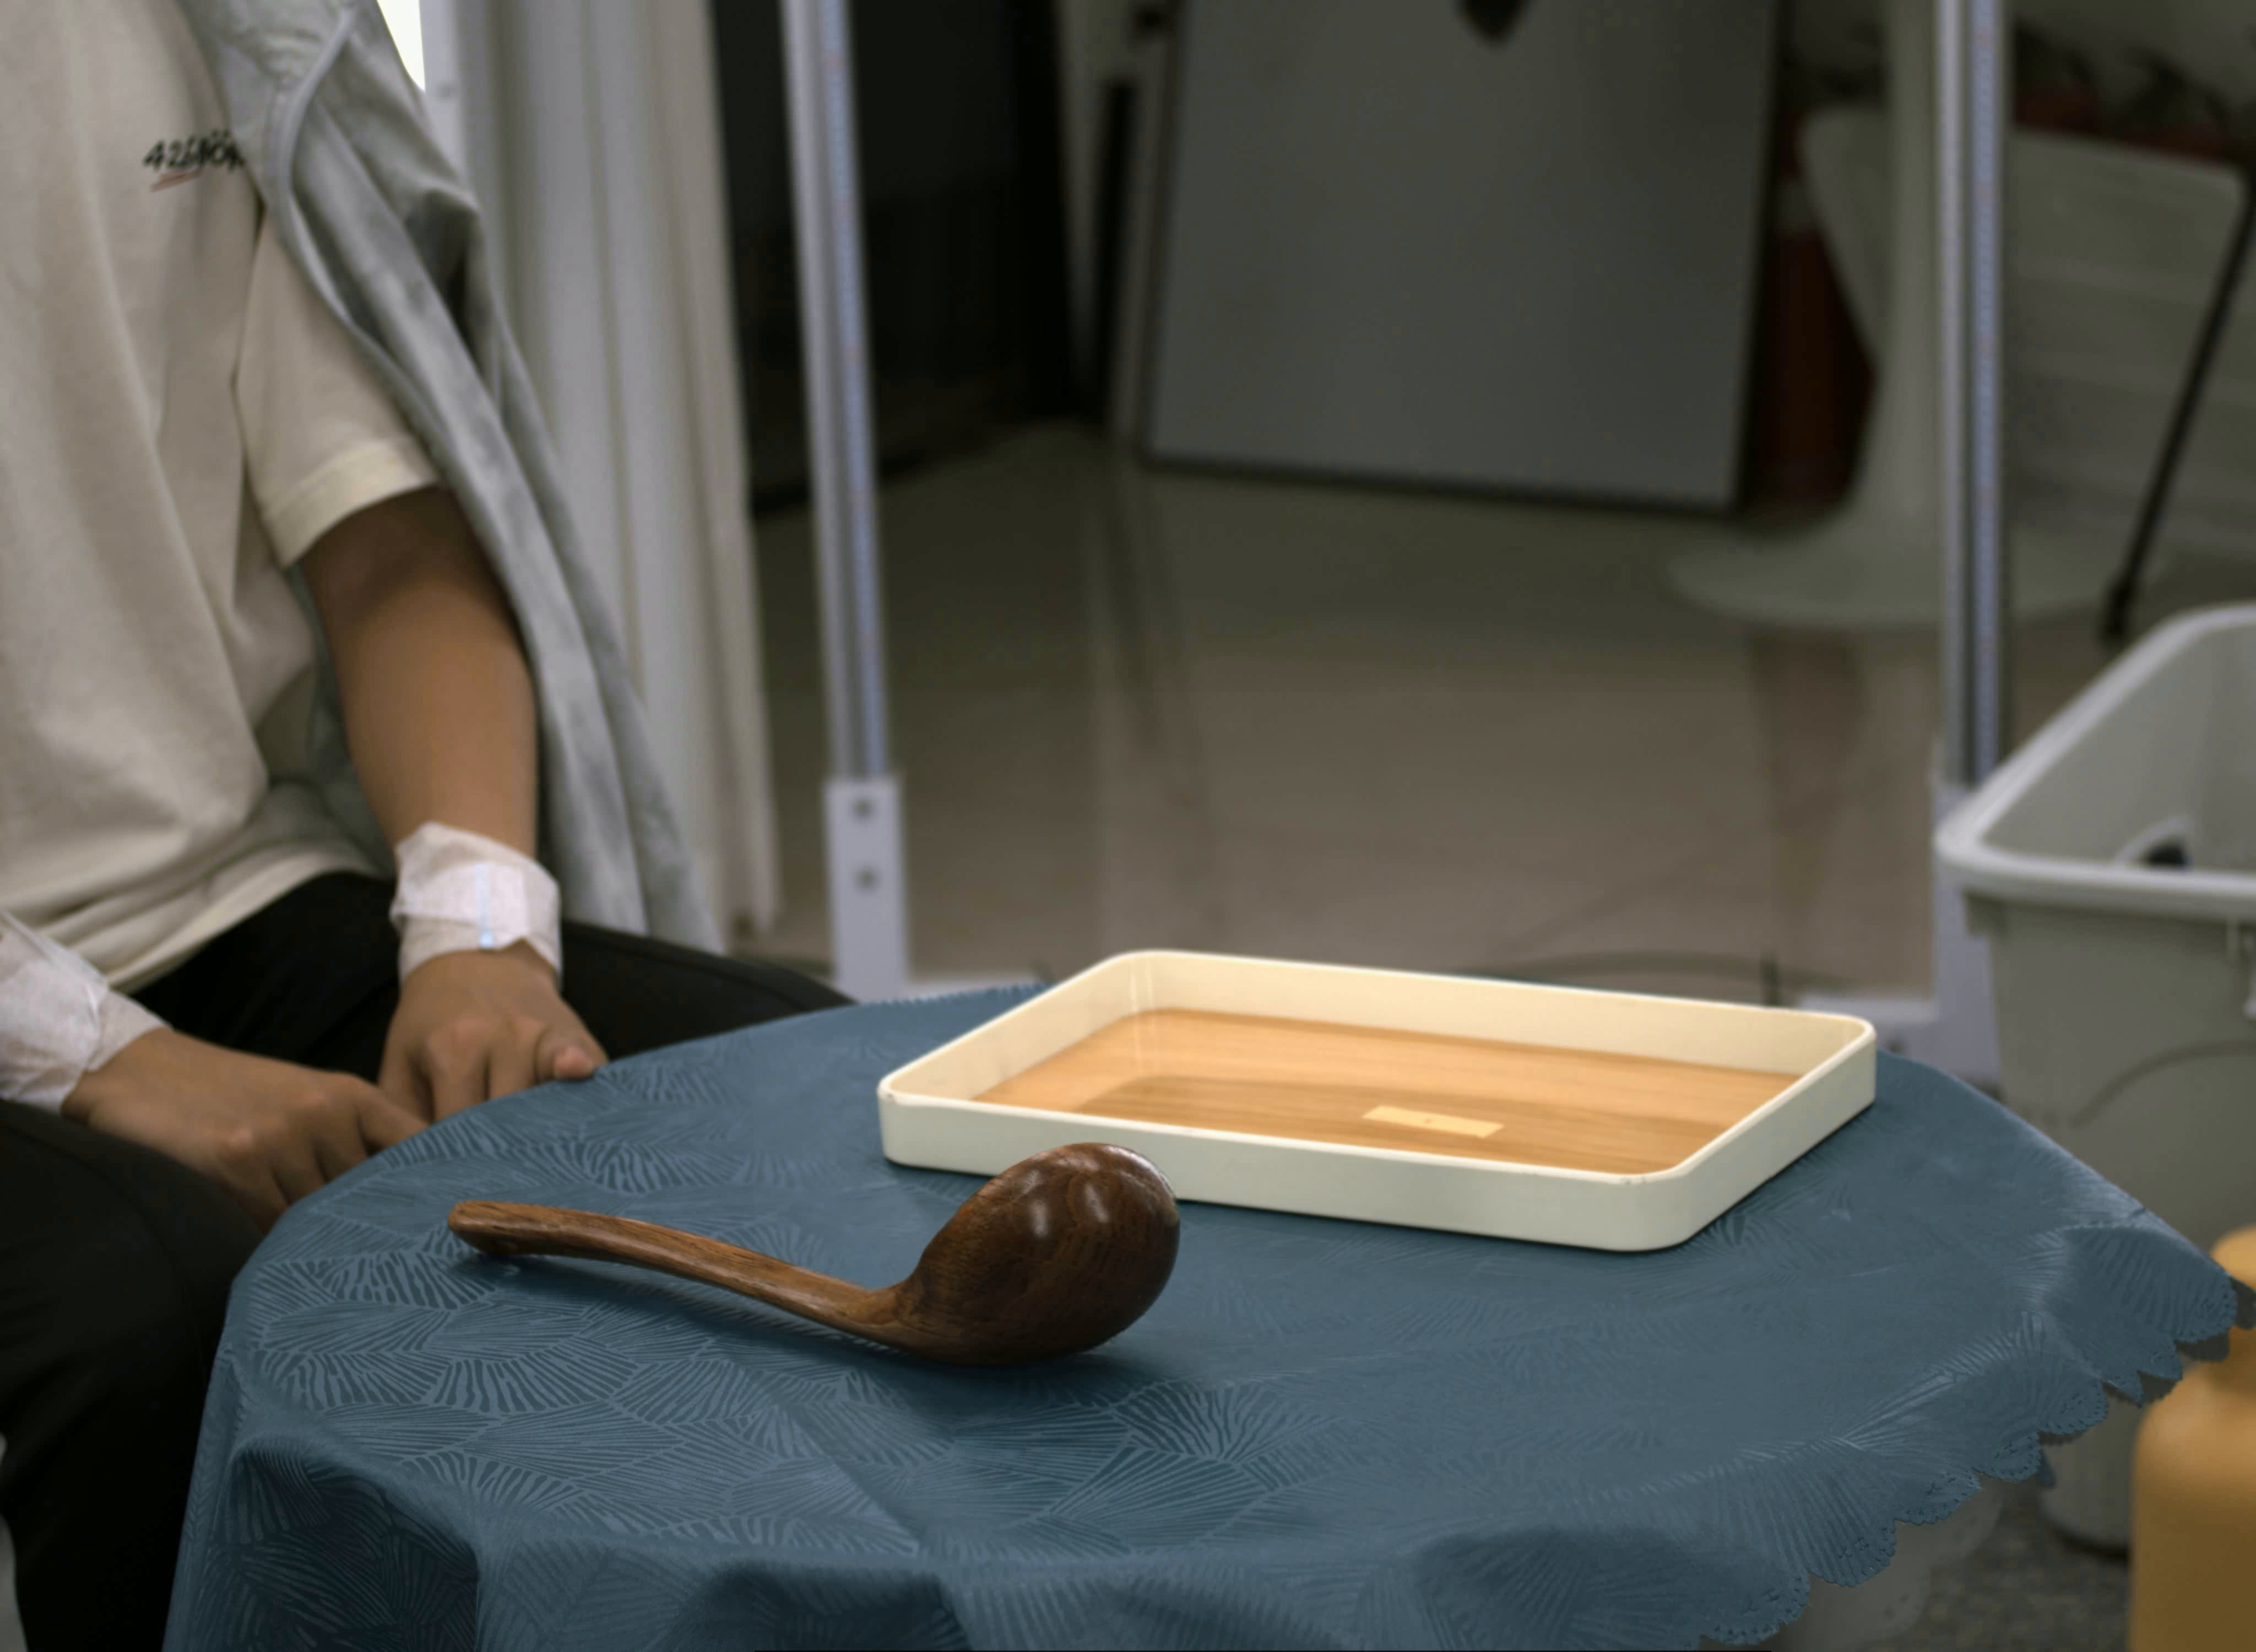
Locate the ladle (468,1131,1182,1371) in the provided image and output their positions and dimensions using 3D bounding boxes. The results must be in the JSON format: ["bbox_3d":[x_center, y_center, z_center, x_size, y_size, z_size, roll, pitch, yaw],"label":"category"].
[{"bbox_3d":[-0.099,0.118,1.671,0.276,0.077,0.081,7,-24,43],"label":"ladle"}]

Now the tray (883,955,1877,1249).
[{"bbox_3d":[0.085,0.090,1.819,0.301,0.028,0.188,4,16,31],"label":"tray"}]
